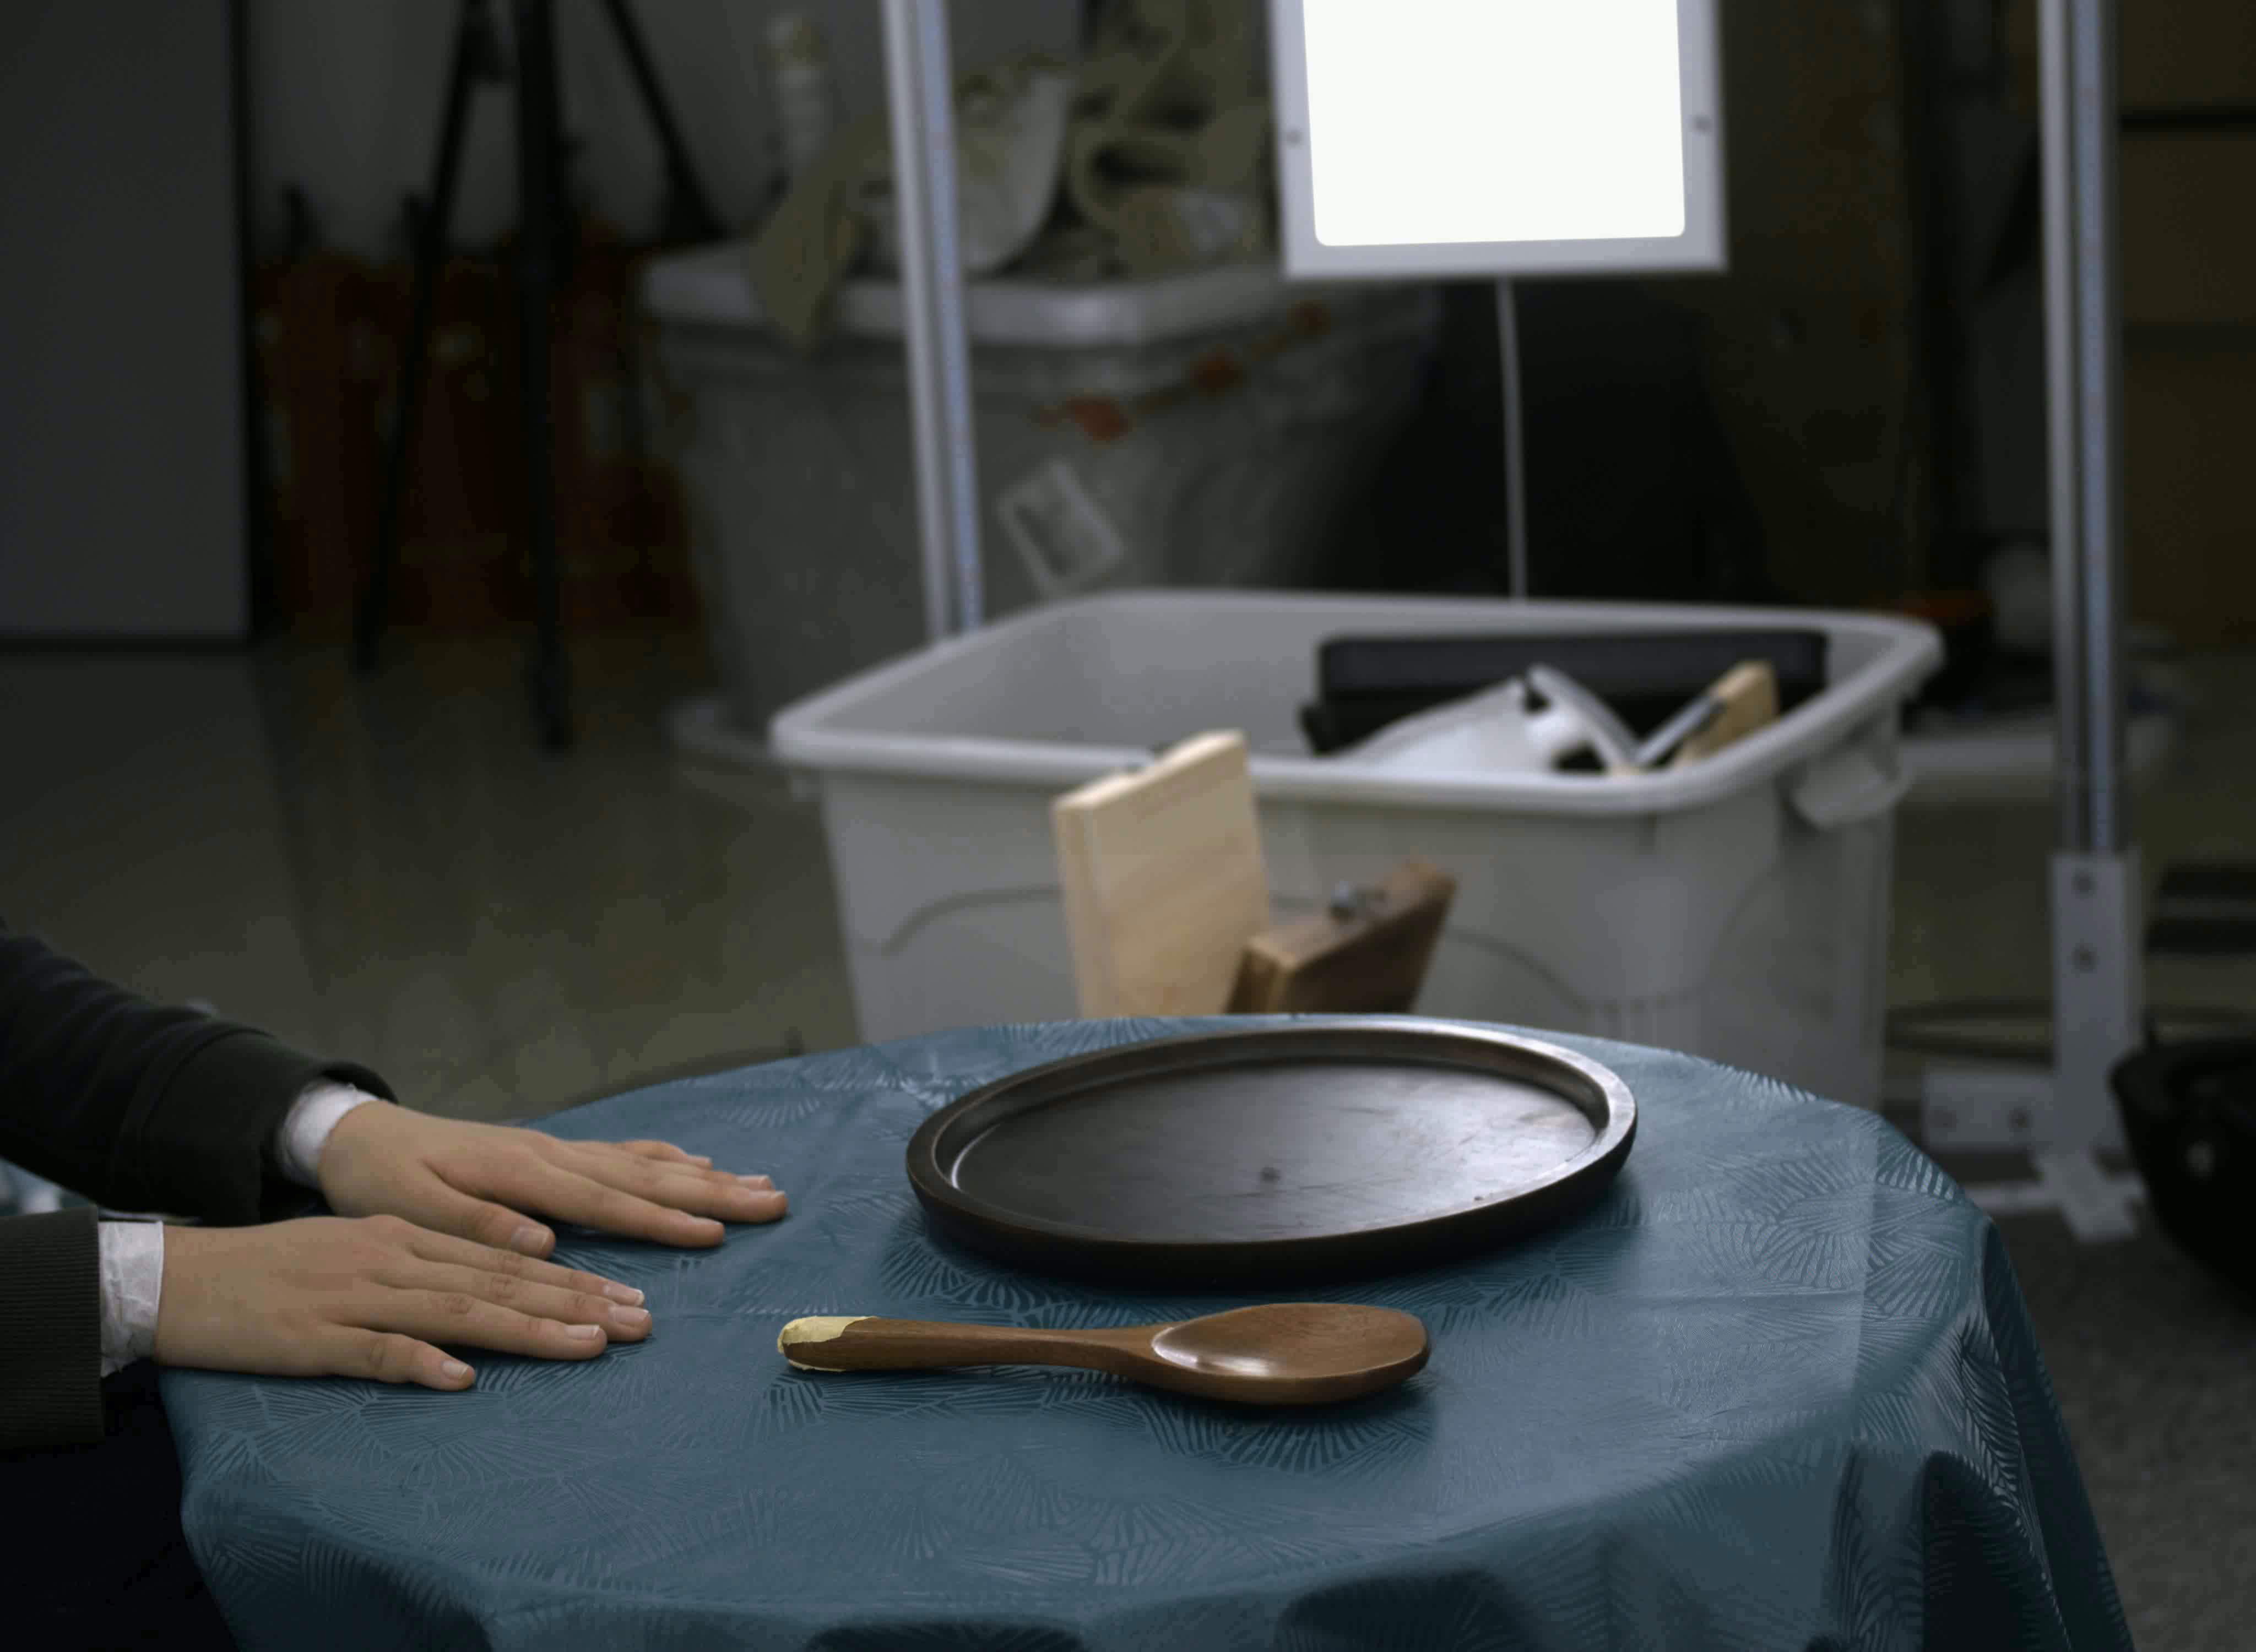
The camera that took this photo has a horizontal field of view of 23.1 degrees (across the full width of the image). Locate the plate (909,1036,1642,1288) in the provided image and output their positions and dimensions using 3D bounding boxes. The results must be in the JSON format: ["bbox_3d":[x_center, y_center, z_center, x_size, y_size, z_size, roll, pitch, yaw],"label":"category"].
[{"bbox_3d":[0.051,0.113,1.890,0.254,0.029,0.254,-4,13,0],"label":"plate"}]

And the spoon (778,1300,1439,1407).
[{"bbox_3d":[-0.008,0.163,1.713,0.219,0.017,0.074,1,15,21],"label":"spoon"}]
